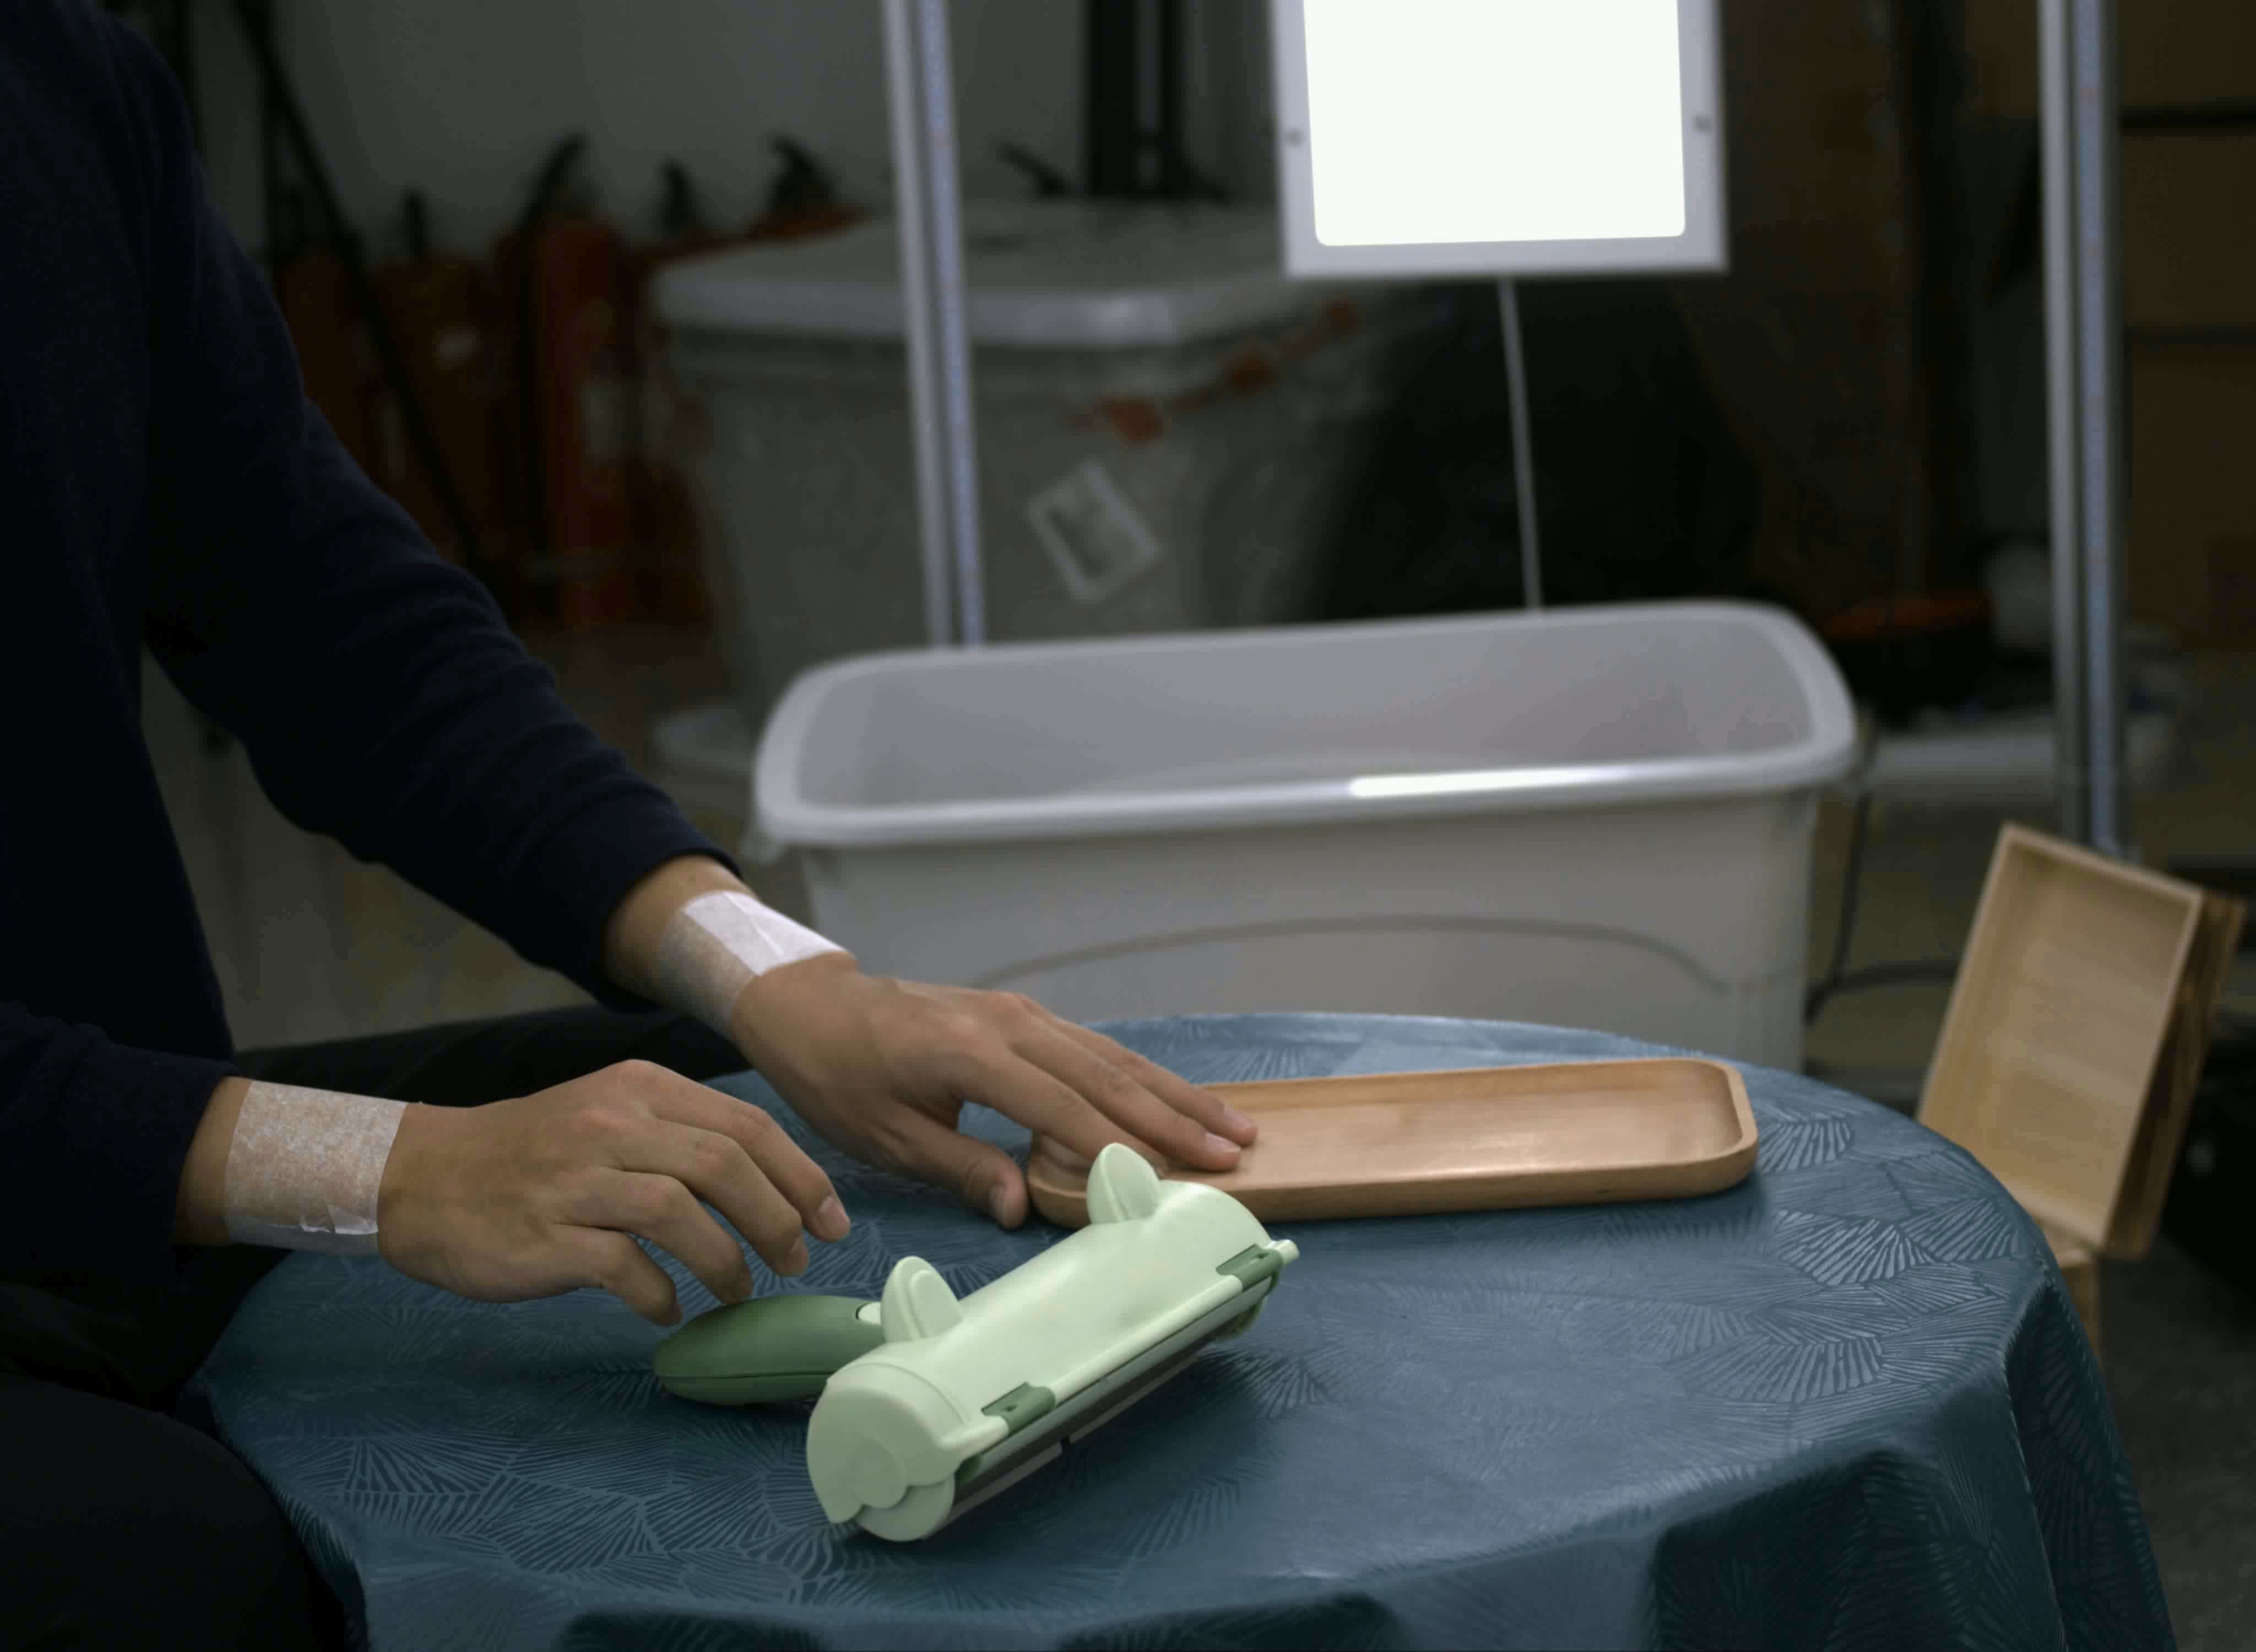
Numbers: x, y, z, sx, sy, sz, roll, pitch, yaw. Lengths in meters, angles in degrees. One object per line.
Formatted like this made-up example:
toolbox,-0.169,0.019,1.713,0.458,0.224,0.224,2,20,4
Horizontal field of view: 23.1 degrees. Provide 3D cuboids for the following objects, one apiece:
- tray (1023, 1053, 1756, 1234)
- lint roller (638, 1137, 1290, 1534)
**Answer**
tray,0.090,0.109,1.899,0.251,0.023,0.130,-5,12,5
lint roller,-0.073,0.141,1.679,0.186,0.082,0.194,10,19,30
